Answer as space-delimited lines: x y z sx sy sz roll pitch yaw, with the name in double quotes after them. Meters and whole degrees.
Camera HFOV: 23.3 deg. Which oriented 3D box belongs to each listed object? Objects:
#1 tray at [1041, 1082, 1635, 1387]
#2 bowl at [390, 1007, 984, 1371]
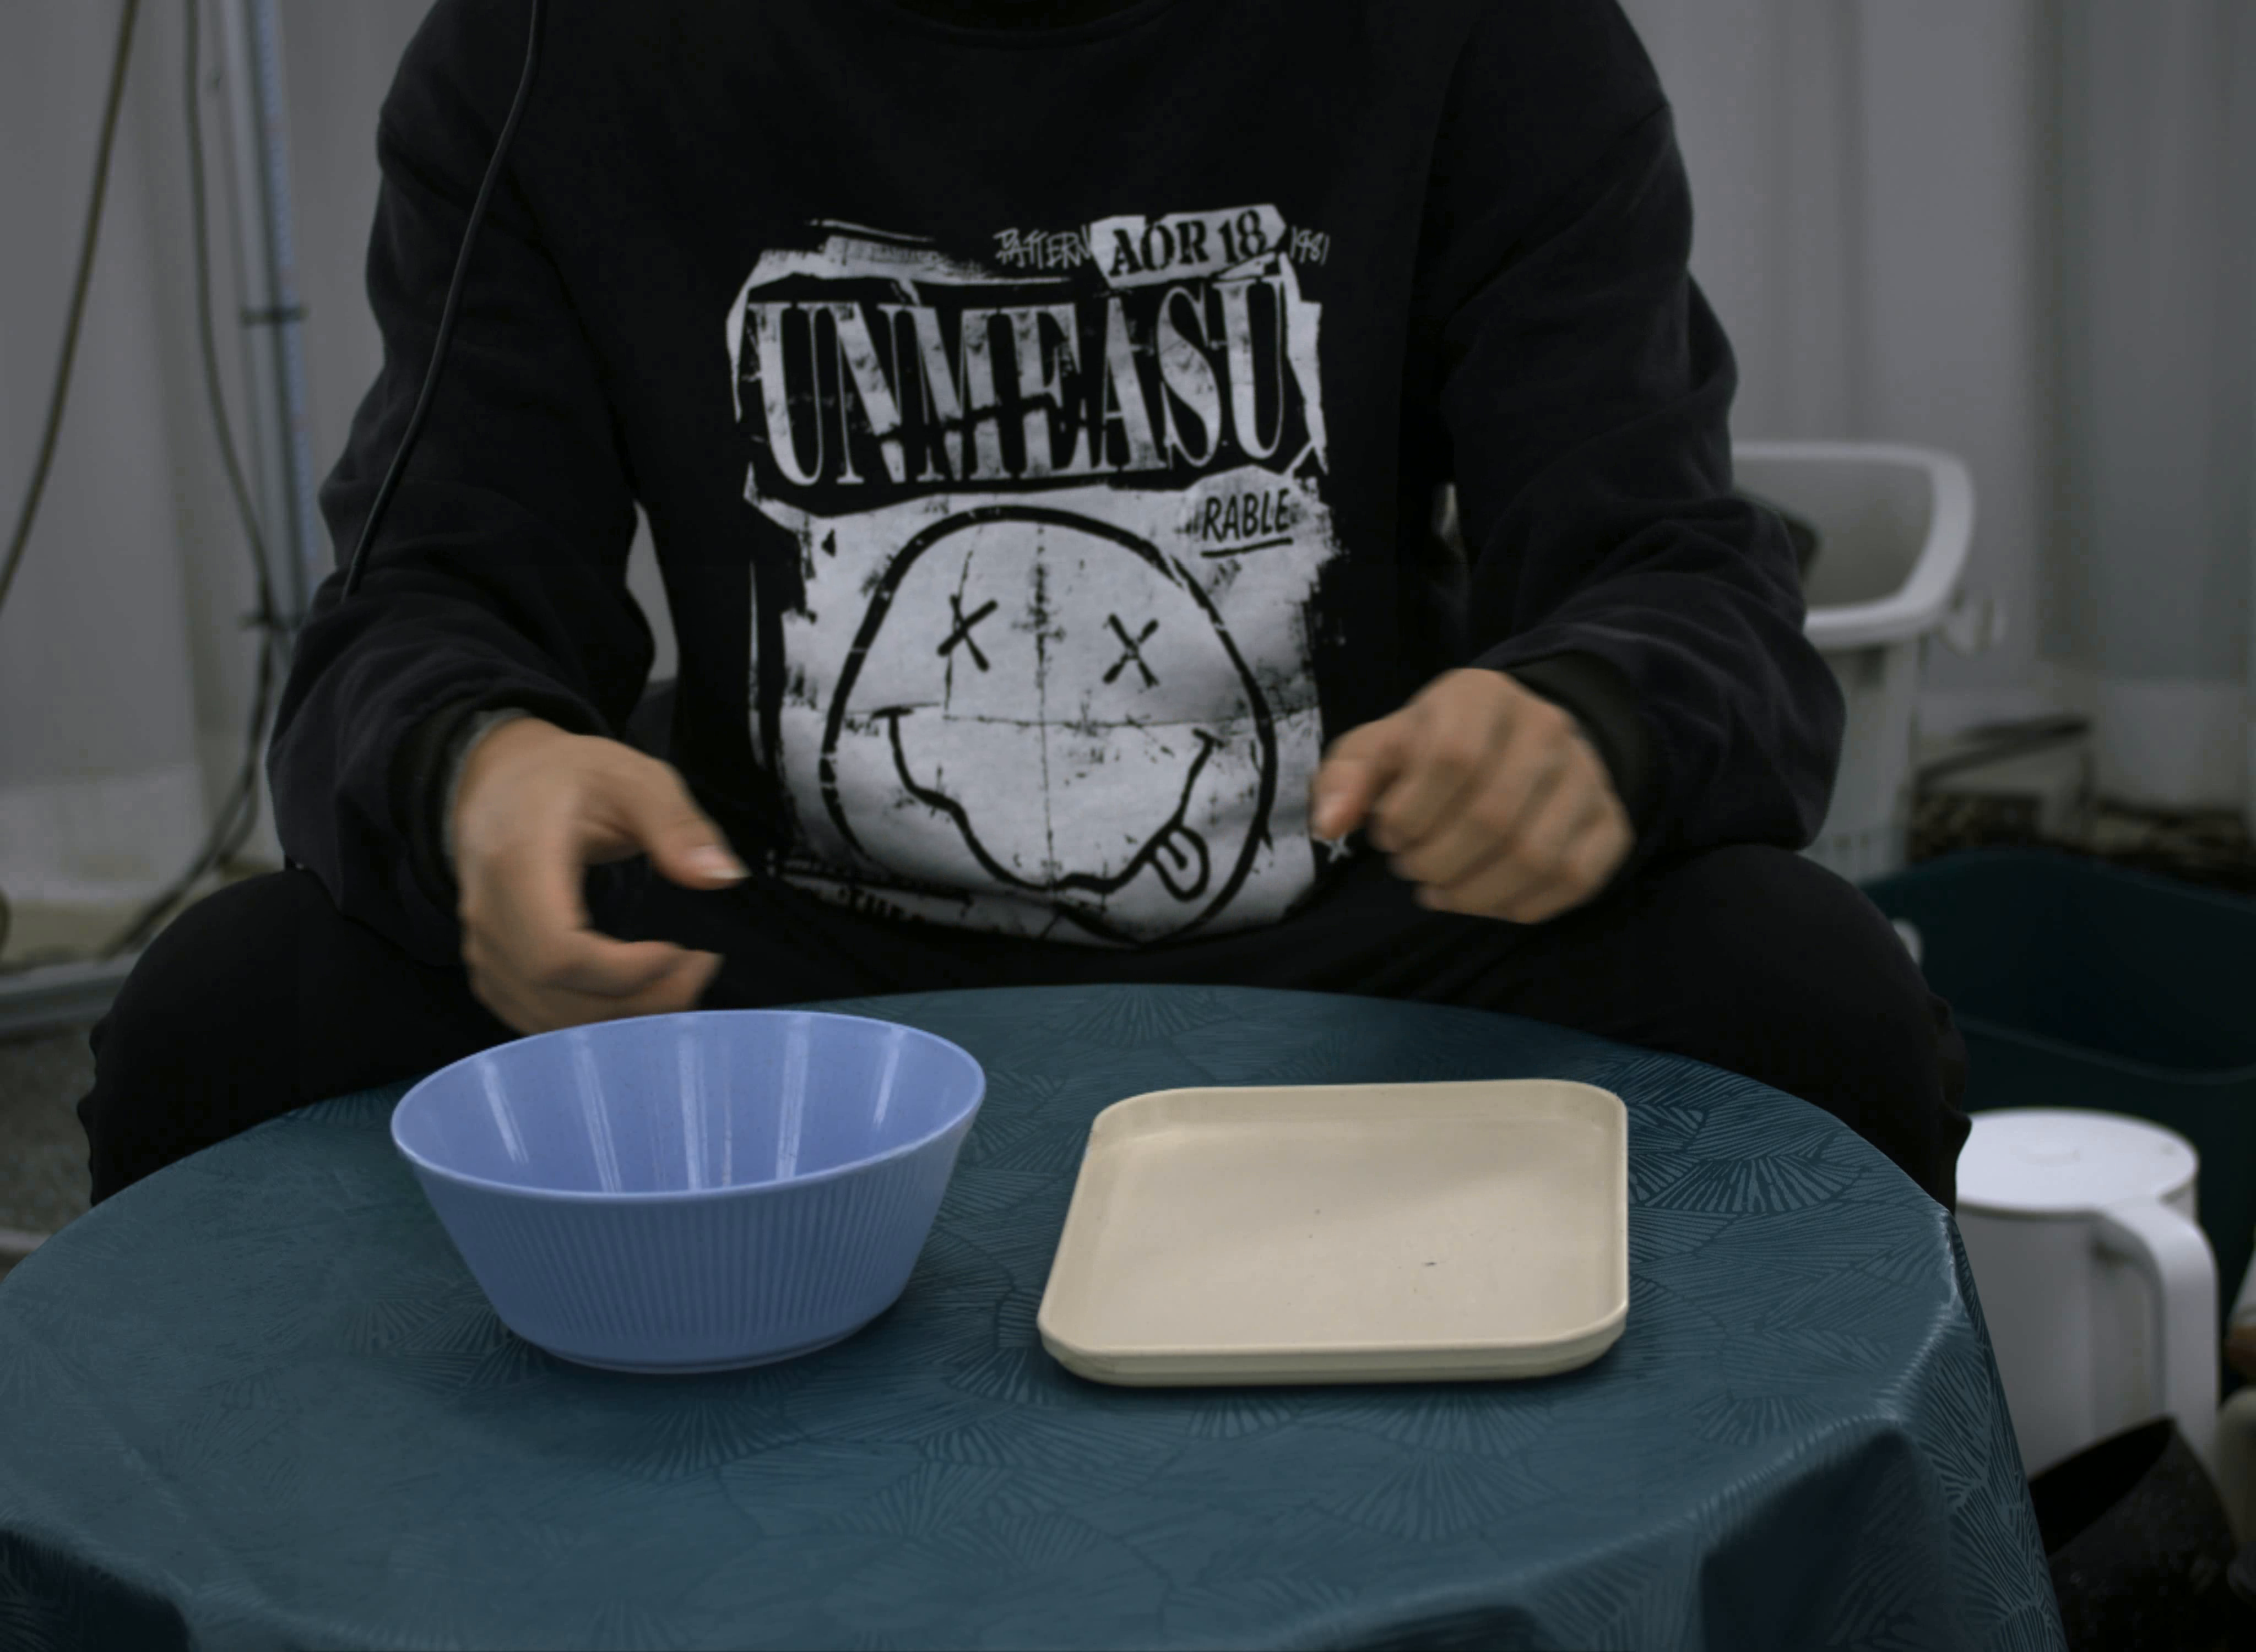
0.066 0.122 1.641 0.171 0.017 0.241 -1 15 5 "tray"
-0.129 0.110 1.620 0.175 0.070 0.177 -2 15 0 "bowl"
